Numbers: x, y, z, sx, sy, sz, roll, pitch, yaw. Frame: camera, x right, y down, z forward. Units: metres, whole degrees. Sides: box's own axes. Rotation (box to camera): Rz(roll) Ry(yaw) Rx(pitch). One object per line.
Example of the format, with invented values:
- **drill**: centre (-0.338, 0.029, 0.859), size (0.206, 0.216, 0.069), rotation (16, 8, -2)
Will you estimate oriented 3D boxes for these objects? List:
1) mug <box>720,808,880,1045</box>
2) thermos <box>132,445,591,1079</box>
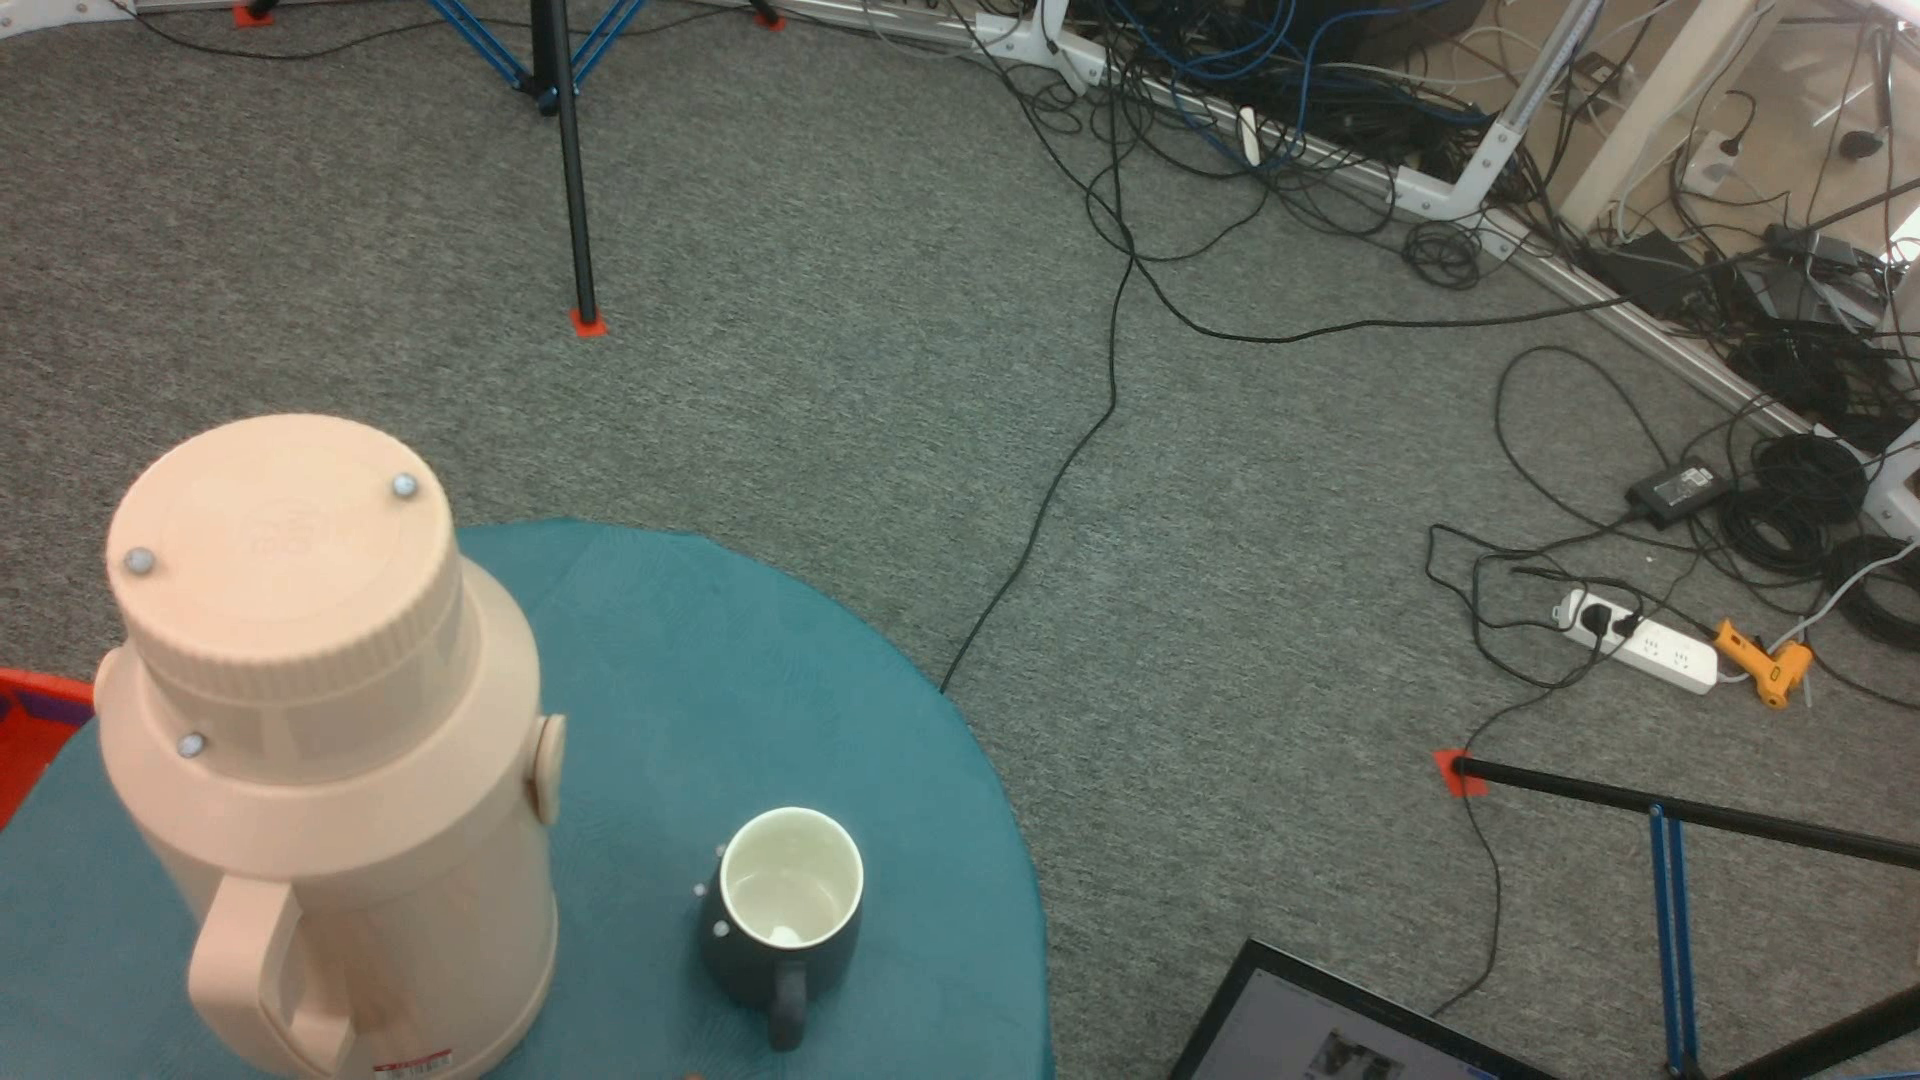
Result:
- **mug**: centre (-0.089, 0.224, 0.789), size (0.093, 0.089, 0.124), rotation (1, 52, -12)
- **thermos**: centre (-0.261, 0.138, 0.621), size (0.175, 0.404, 0.208), rotation (7, 51, -8)
